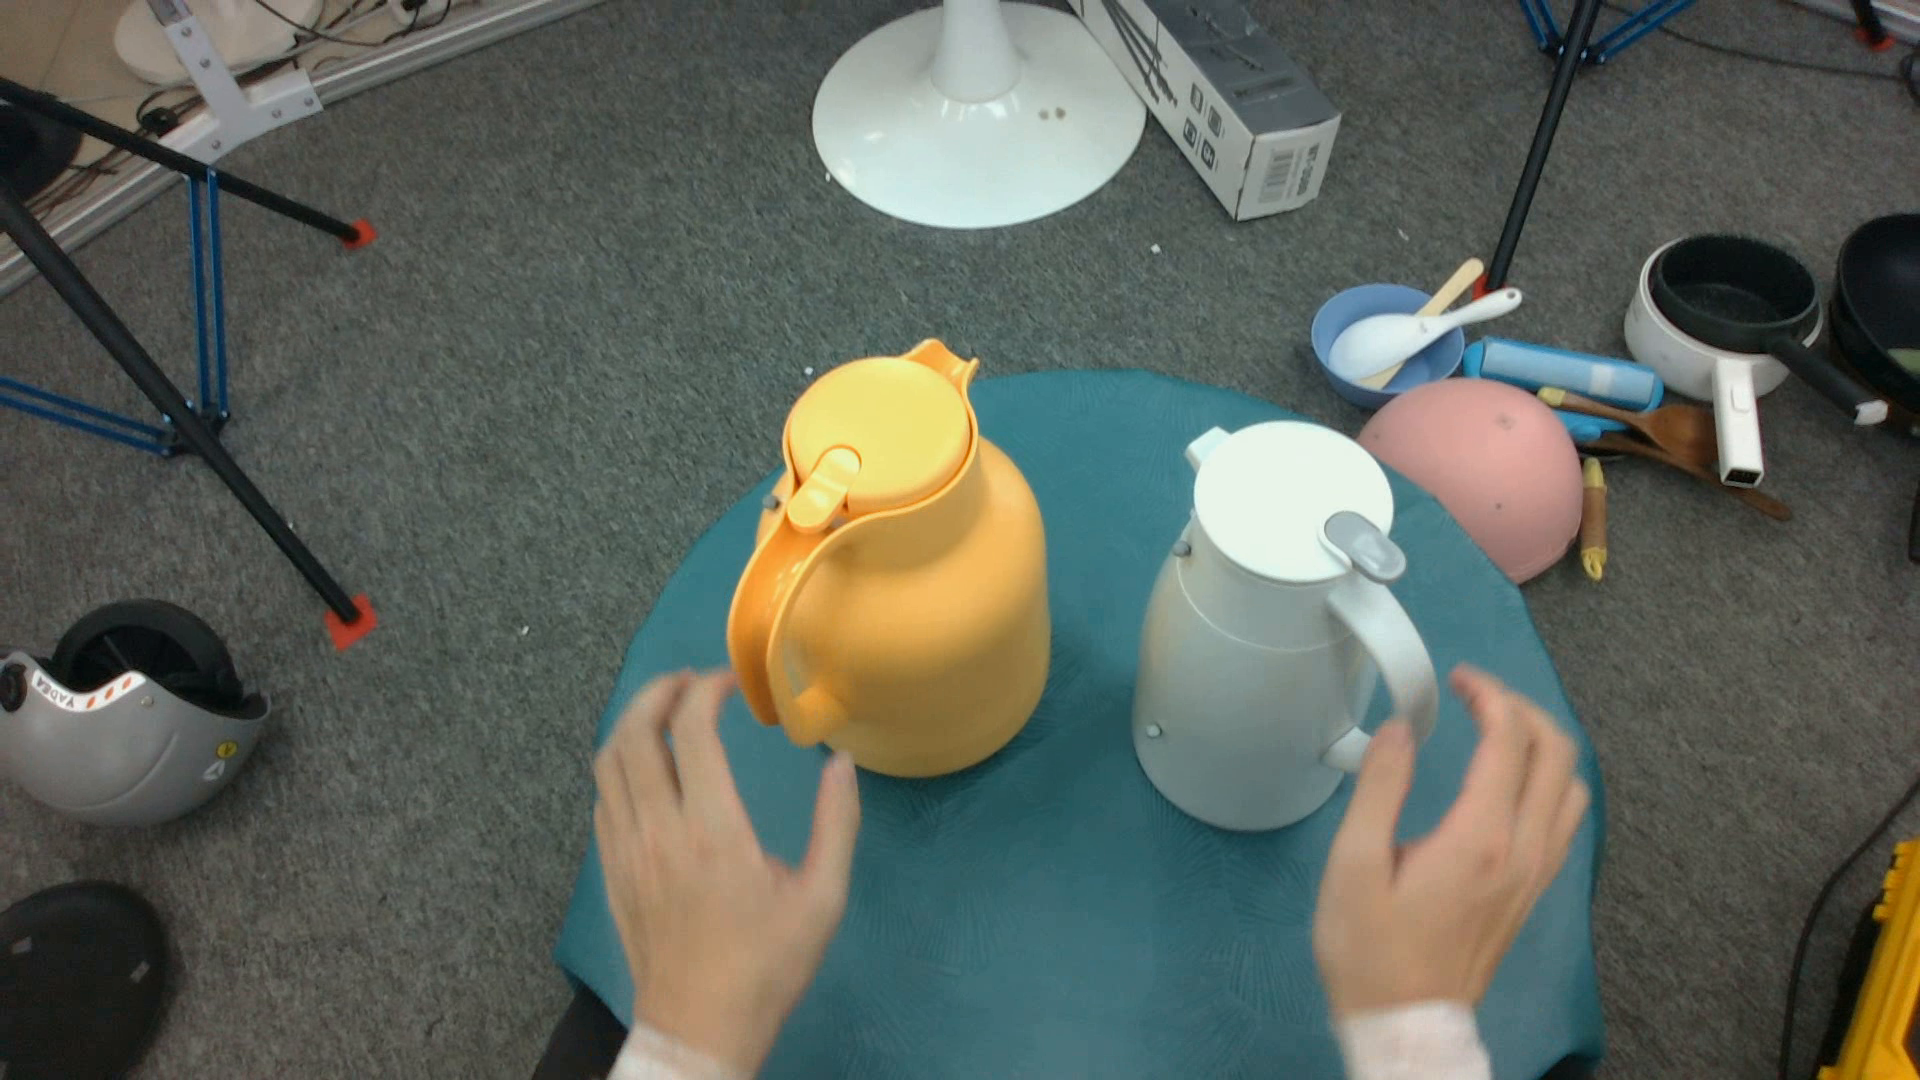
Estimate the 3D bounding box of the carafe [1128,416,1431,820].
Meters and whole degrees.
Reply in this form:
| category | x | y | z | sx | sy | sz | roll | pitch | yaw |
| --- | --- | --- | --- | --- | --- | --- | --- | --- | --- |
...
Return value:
| category | x | y | z | sx | sy | sz | roll | pitch | yaw |
| --- | --- | --- | --- | --- | --- | --- | --- | --- | --- |
| carafe | 0.173 | 0.053 | 0.733 | 0.133 | 0.247 | 0.168 | -34 | 60 | -18 |

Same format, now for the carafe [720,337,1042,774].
| category | x | y | z | sx | sy | sz | roll | pitch | yaw |
| --- | --- | --- | --- | --- | --- | --- | --- | --- | --- |
| carafe | -0.048 | 0.024 | 0.760 | 0.163 | 0.259 | 0.203 | 28 | 60 | 23 |
